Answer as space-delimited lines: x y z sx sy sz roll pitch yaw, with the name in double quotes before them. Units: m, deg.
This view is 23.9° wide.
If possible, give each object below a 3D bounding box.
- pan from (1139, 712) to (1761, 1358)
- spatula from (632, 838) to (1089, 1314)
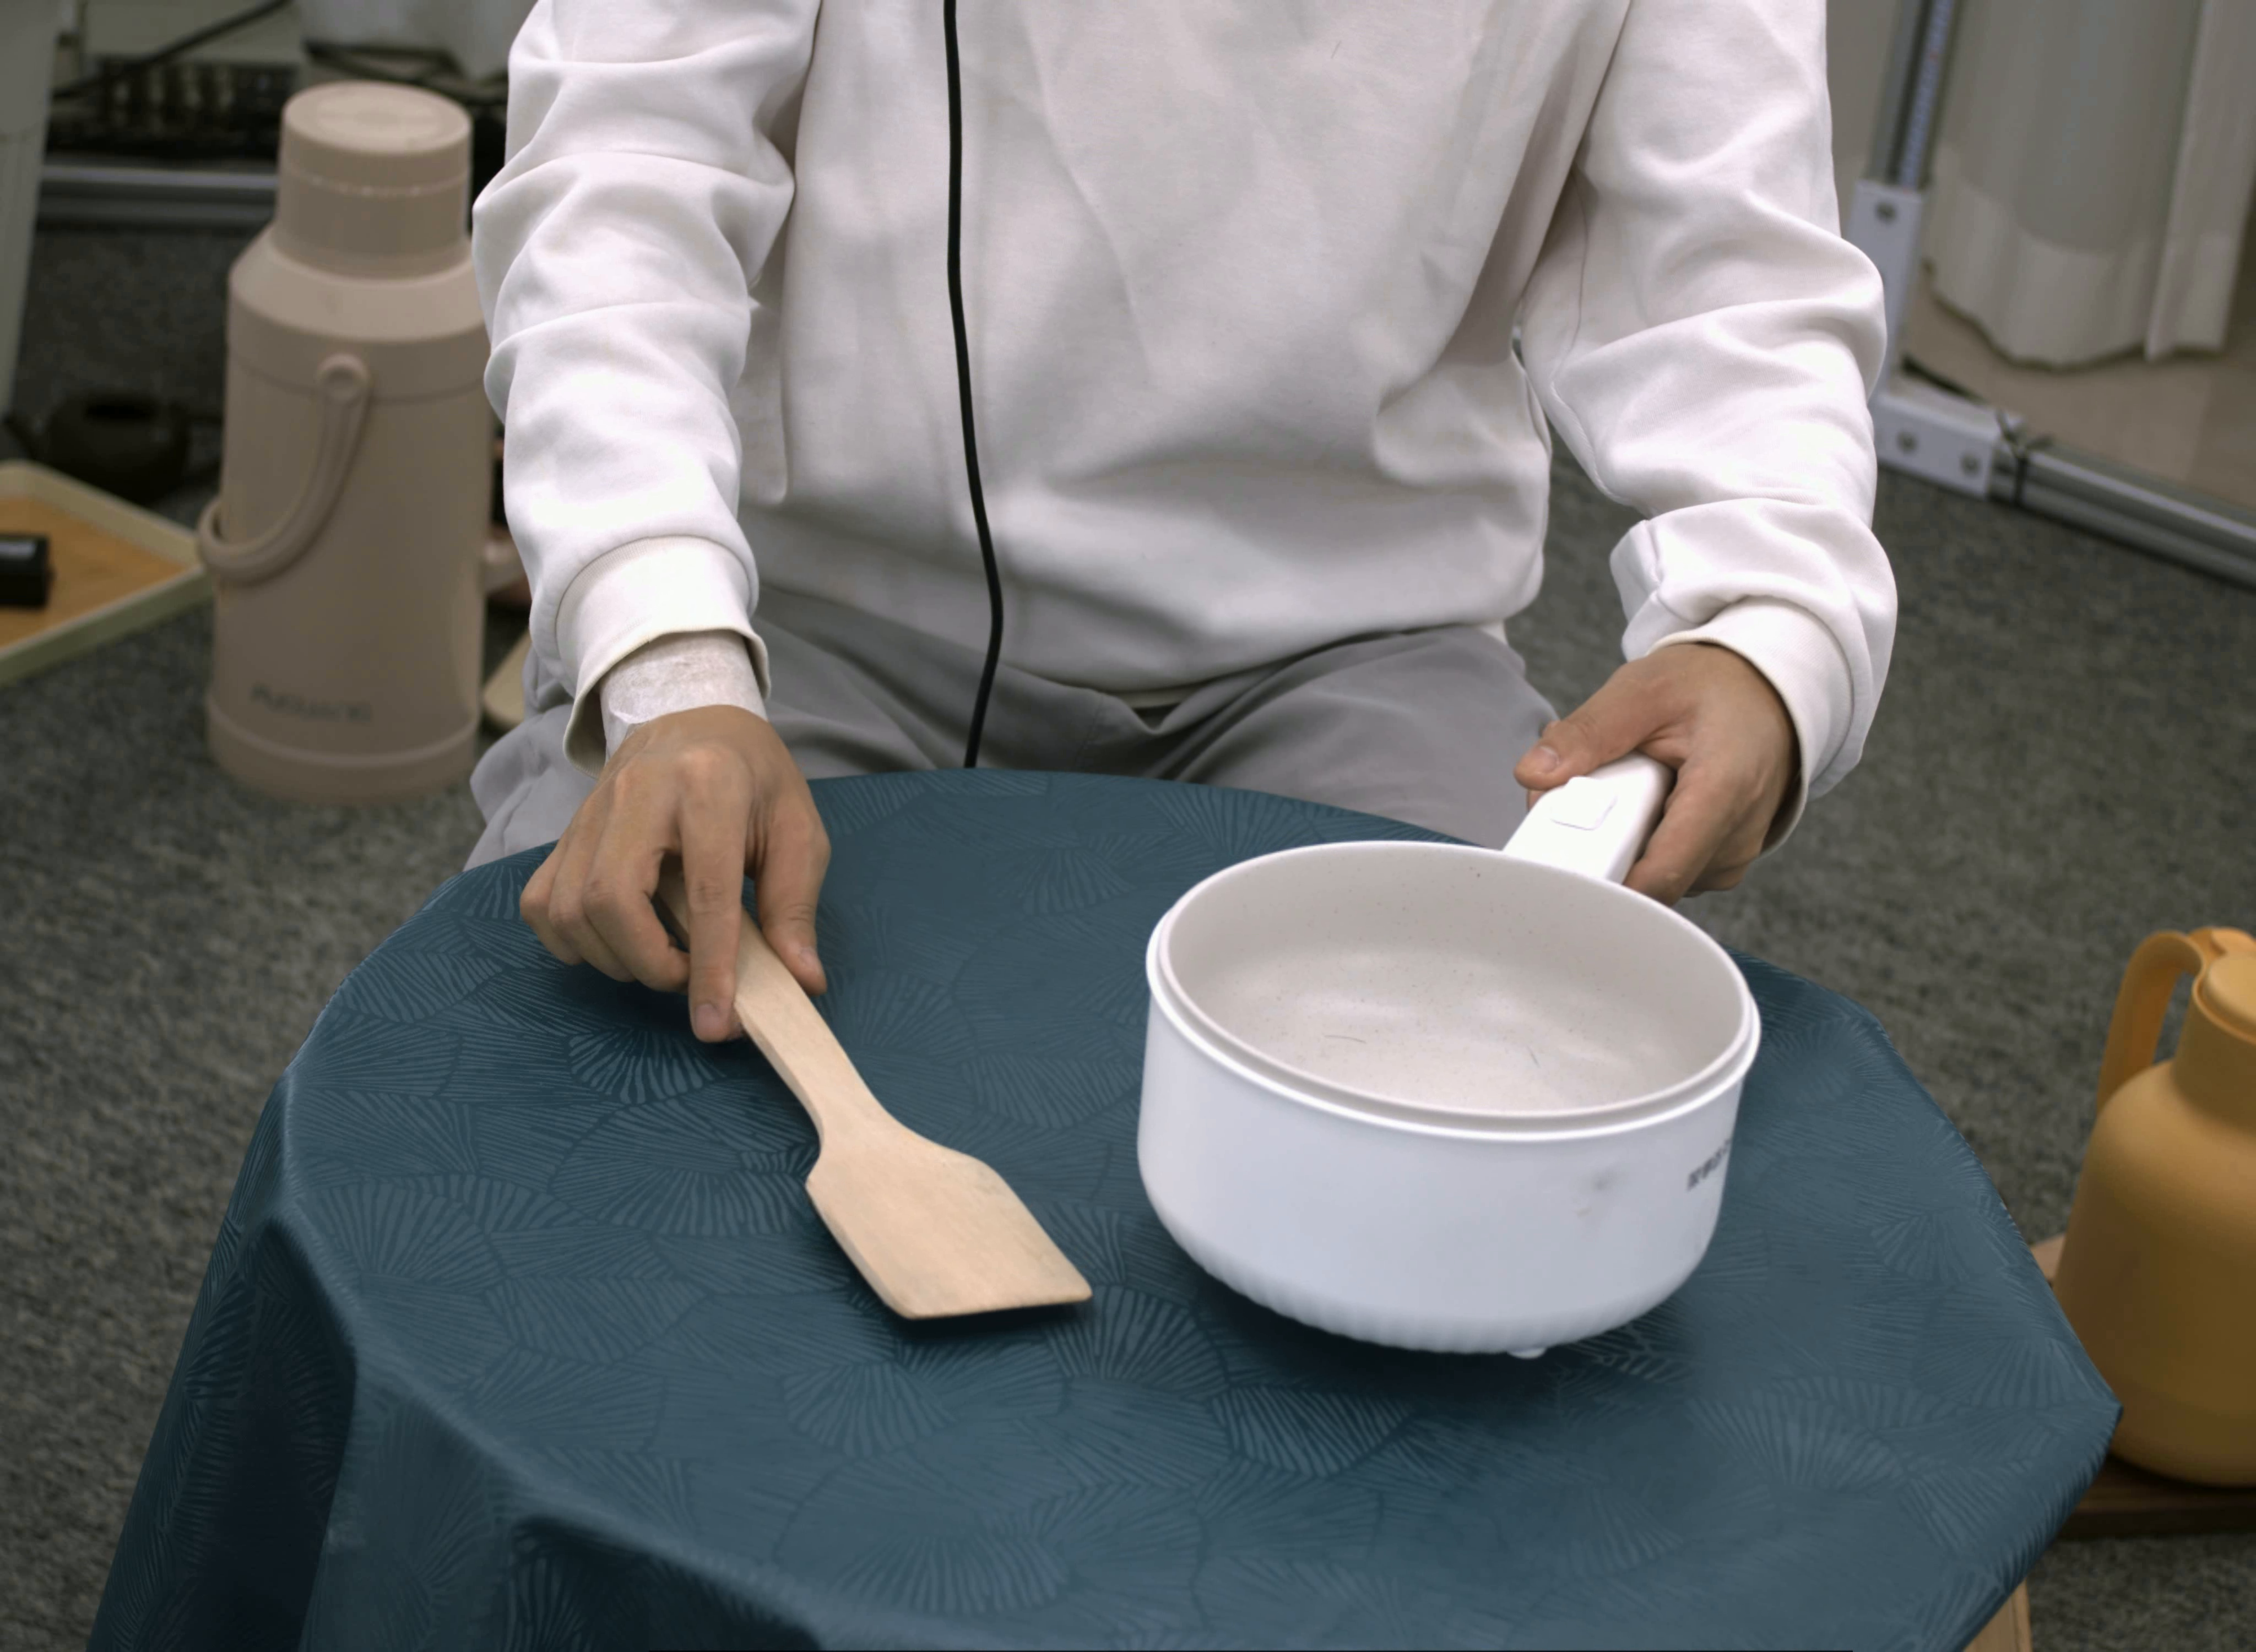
"pan" 0.128 0.066 1.816 0.201 0.102 0.355 12 25 16
"spatula" -0.106 0.082 1.823 0.072 0.010 0.296 -4 33 -29
